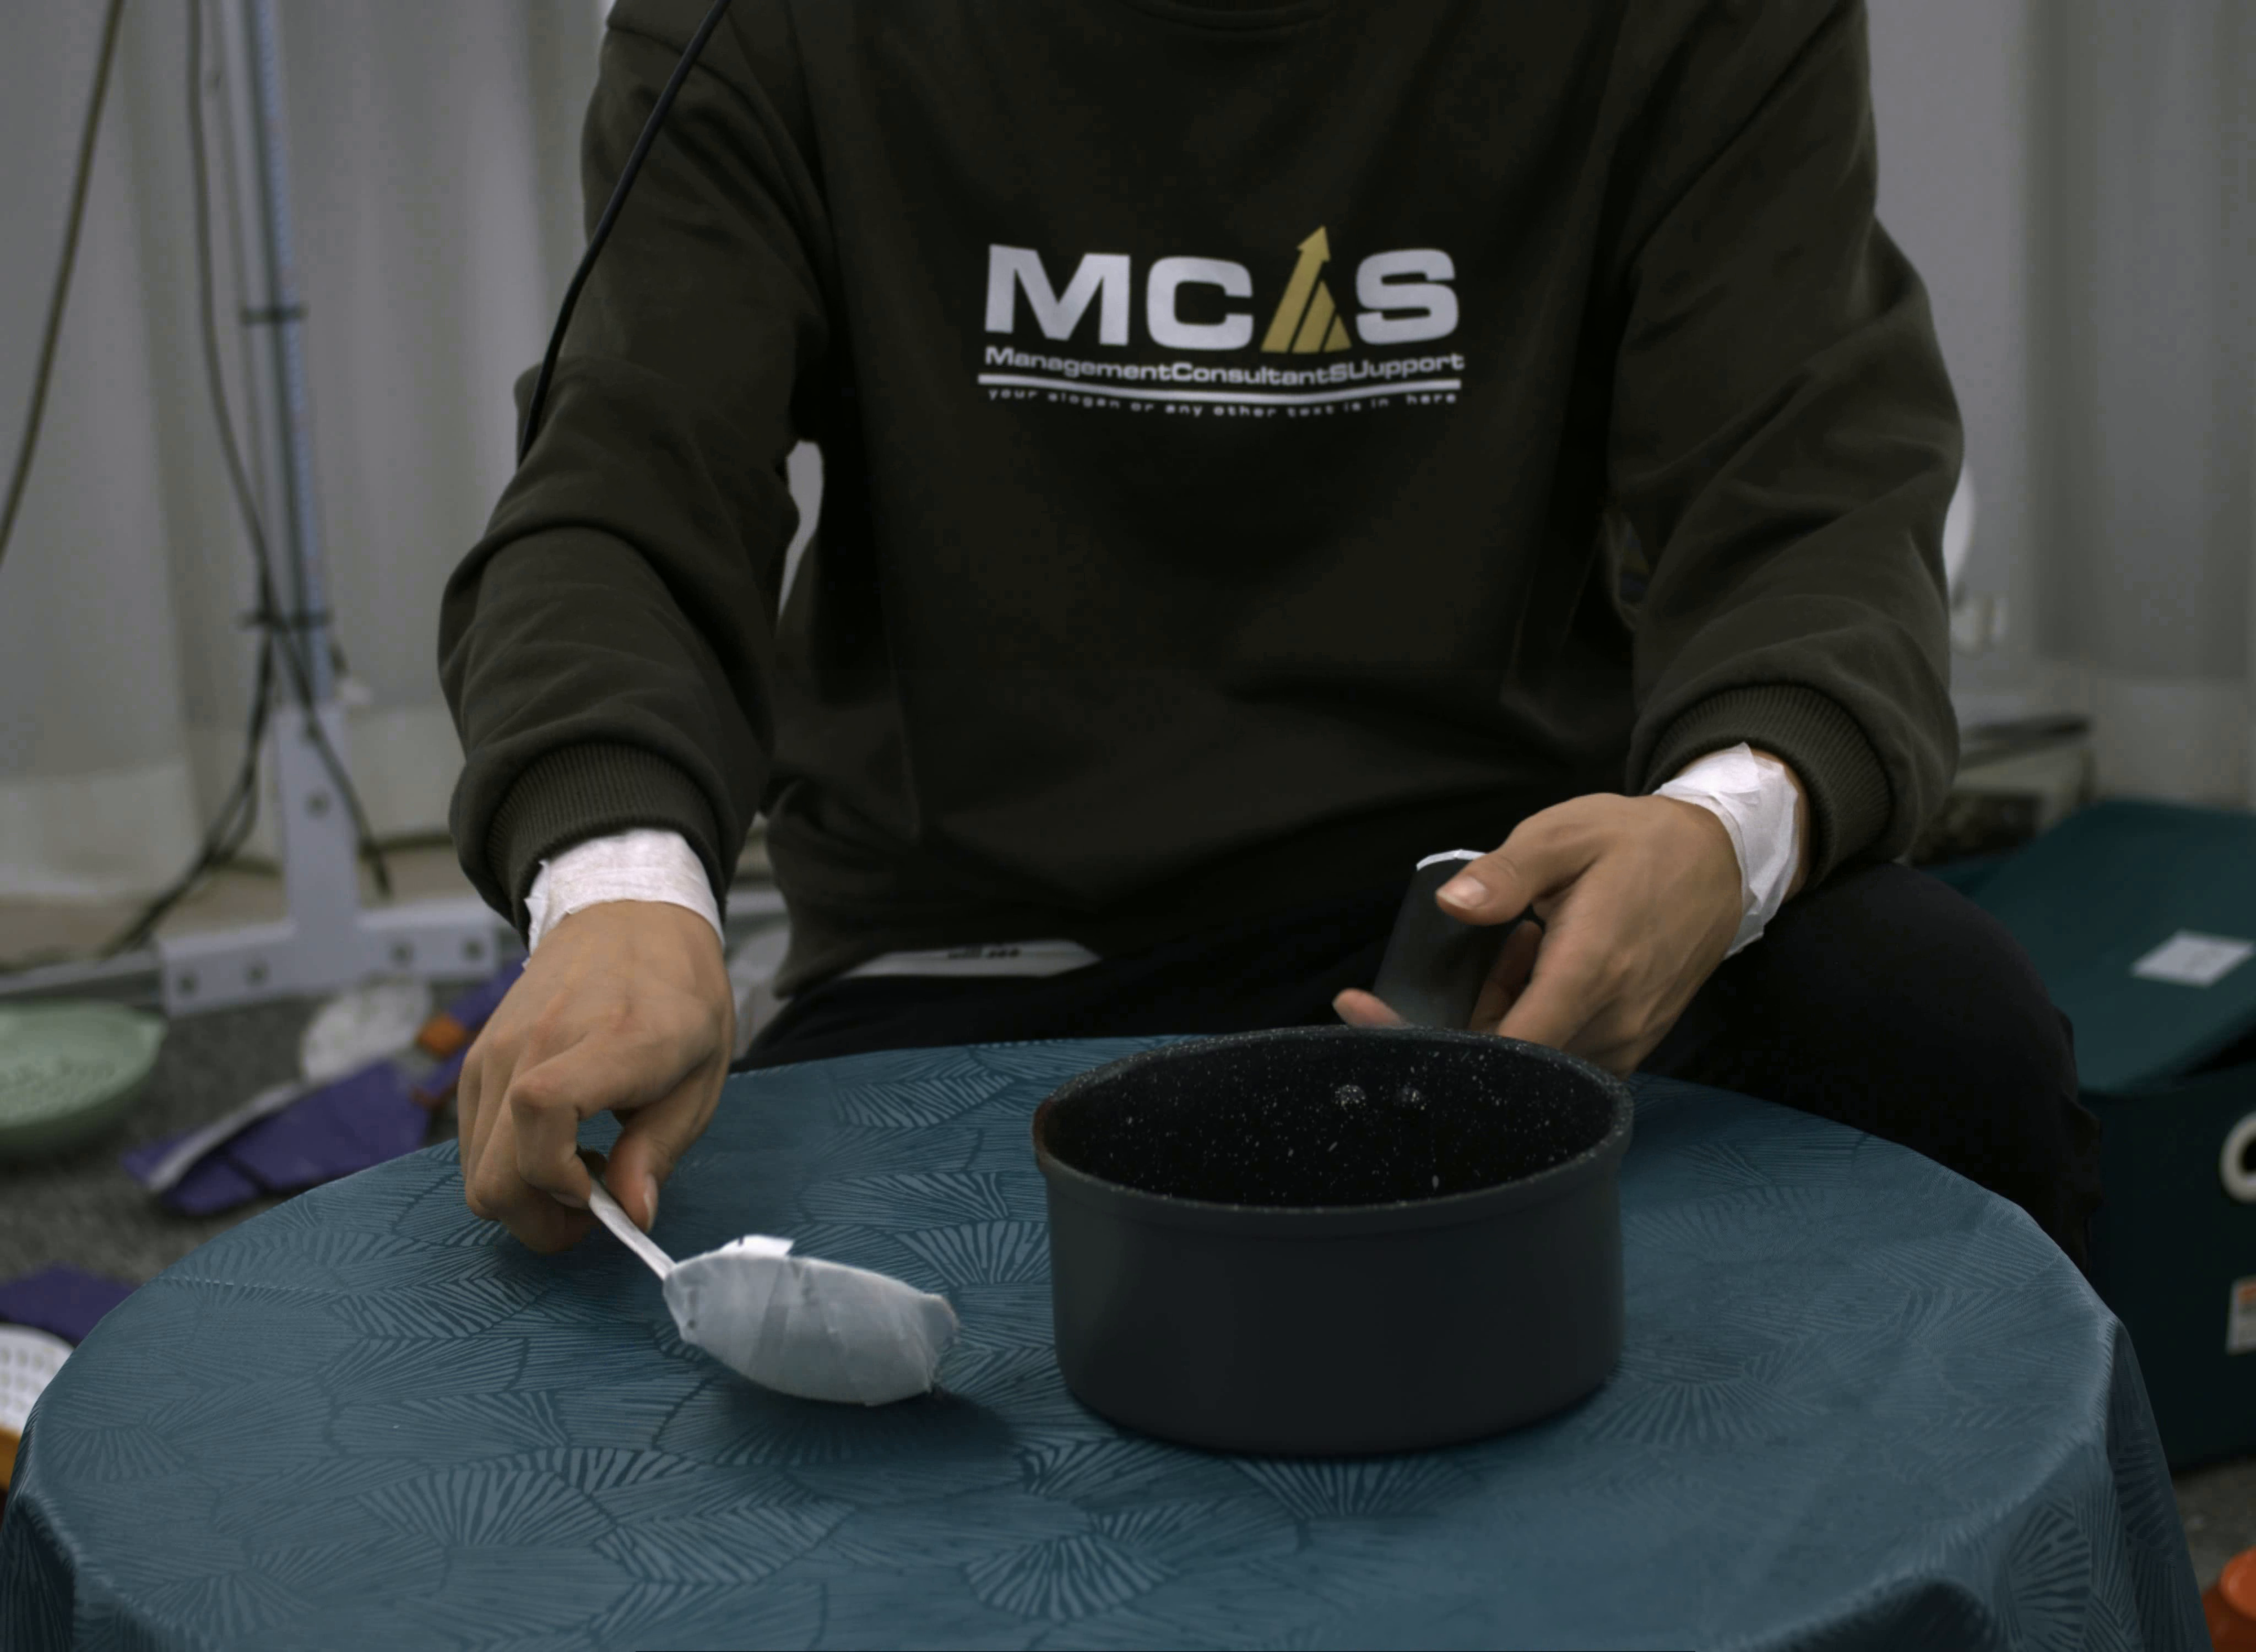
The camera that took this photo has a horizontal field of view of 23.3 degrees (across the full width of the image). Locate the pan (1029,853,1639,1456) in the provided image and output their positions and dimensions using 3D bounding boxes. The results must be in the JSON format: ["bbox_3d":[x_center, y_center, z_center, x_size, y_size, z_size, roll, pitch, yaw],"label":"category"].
[{"bbox_3d":[0.080,0.093,1.623,0.172,0.086,0.330,2,16,15],"label":"pan"}]

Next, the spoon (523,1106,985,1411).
[{"bbox_3d":[-0.120,0.111,1.613,0.099,0.059,0.280,27,5,-27],"label":"spoon"}]
